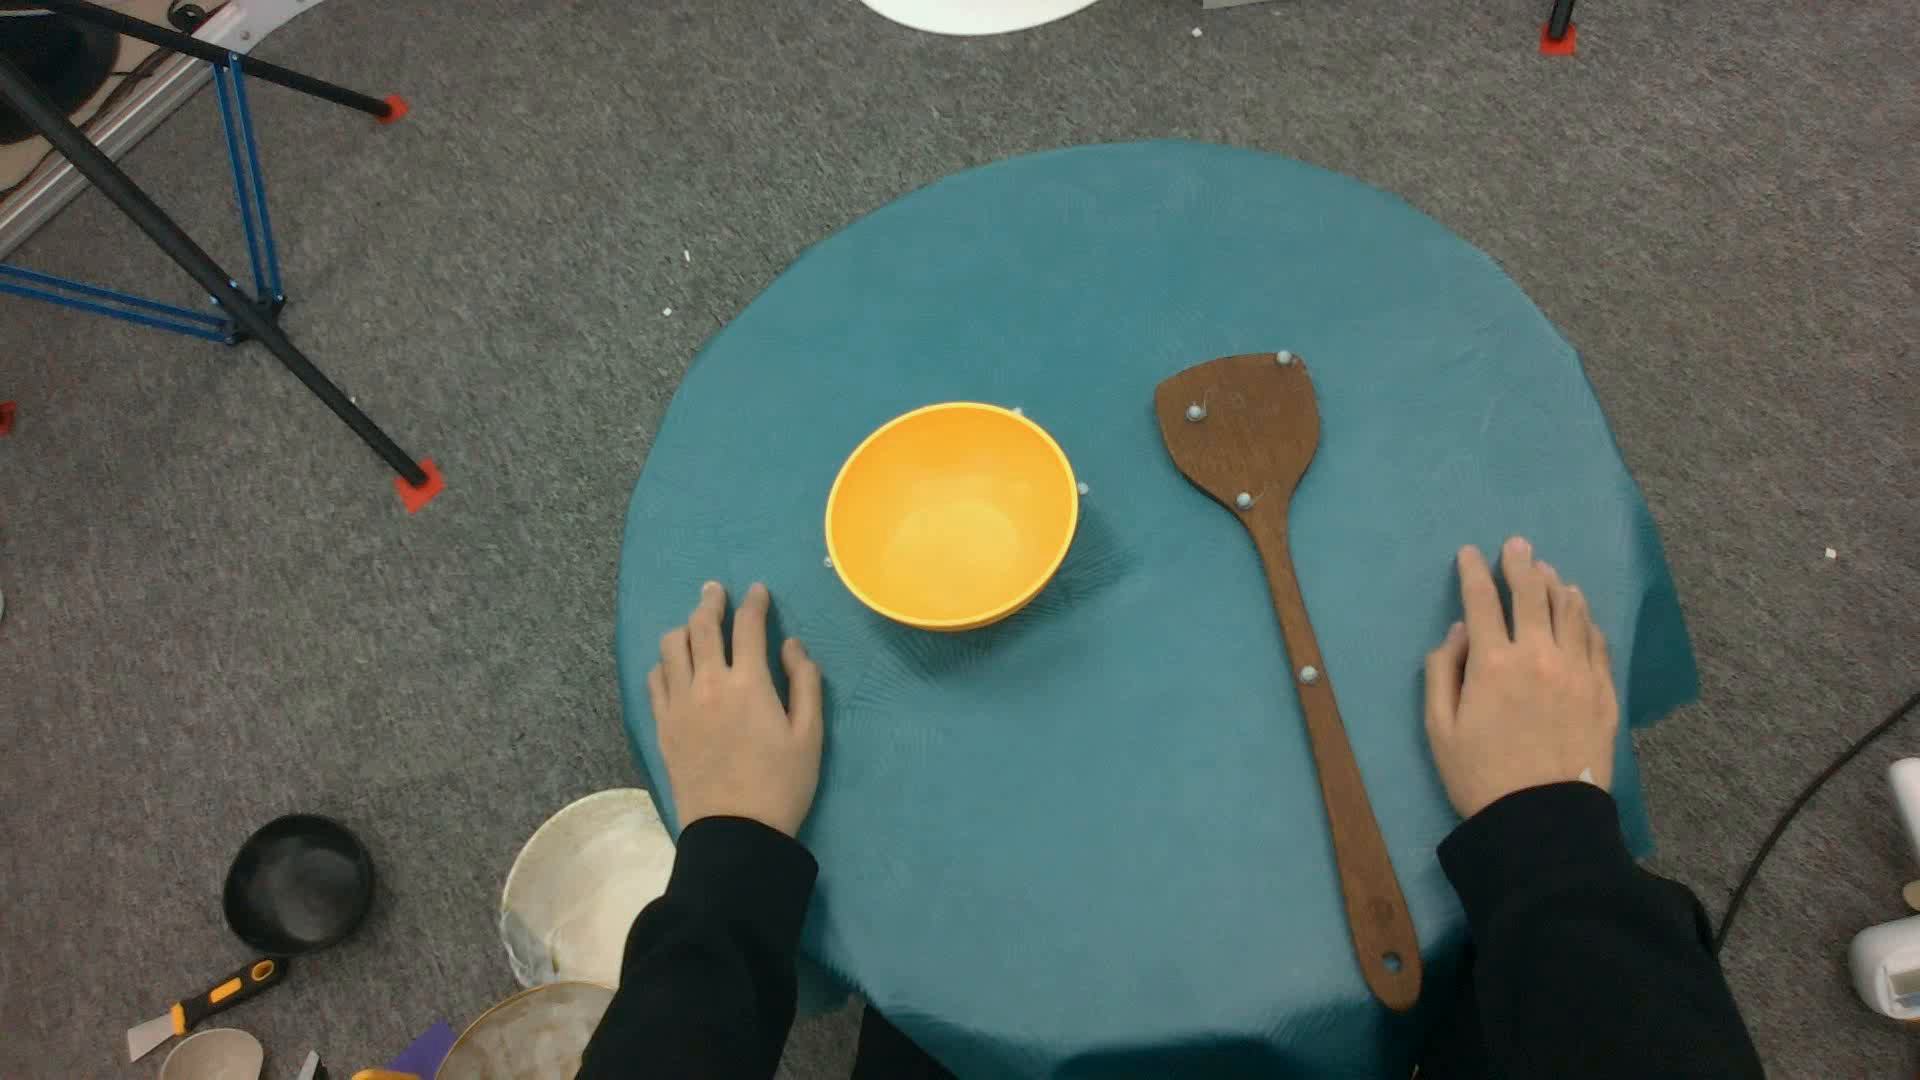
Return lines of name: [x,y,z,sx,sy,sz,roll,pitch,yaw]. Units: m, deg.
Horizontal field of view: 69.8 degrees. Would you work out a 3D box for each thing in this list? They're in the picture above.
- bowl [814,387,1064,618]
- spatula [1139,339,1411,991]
bowl: [-0.008,-0.013,0.799,0.145,0.060,0.146,-5,63,10]
spatula: [0.180,0.049,0.757,0.096,0.016,0.387,-12,61,4]
